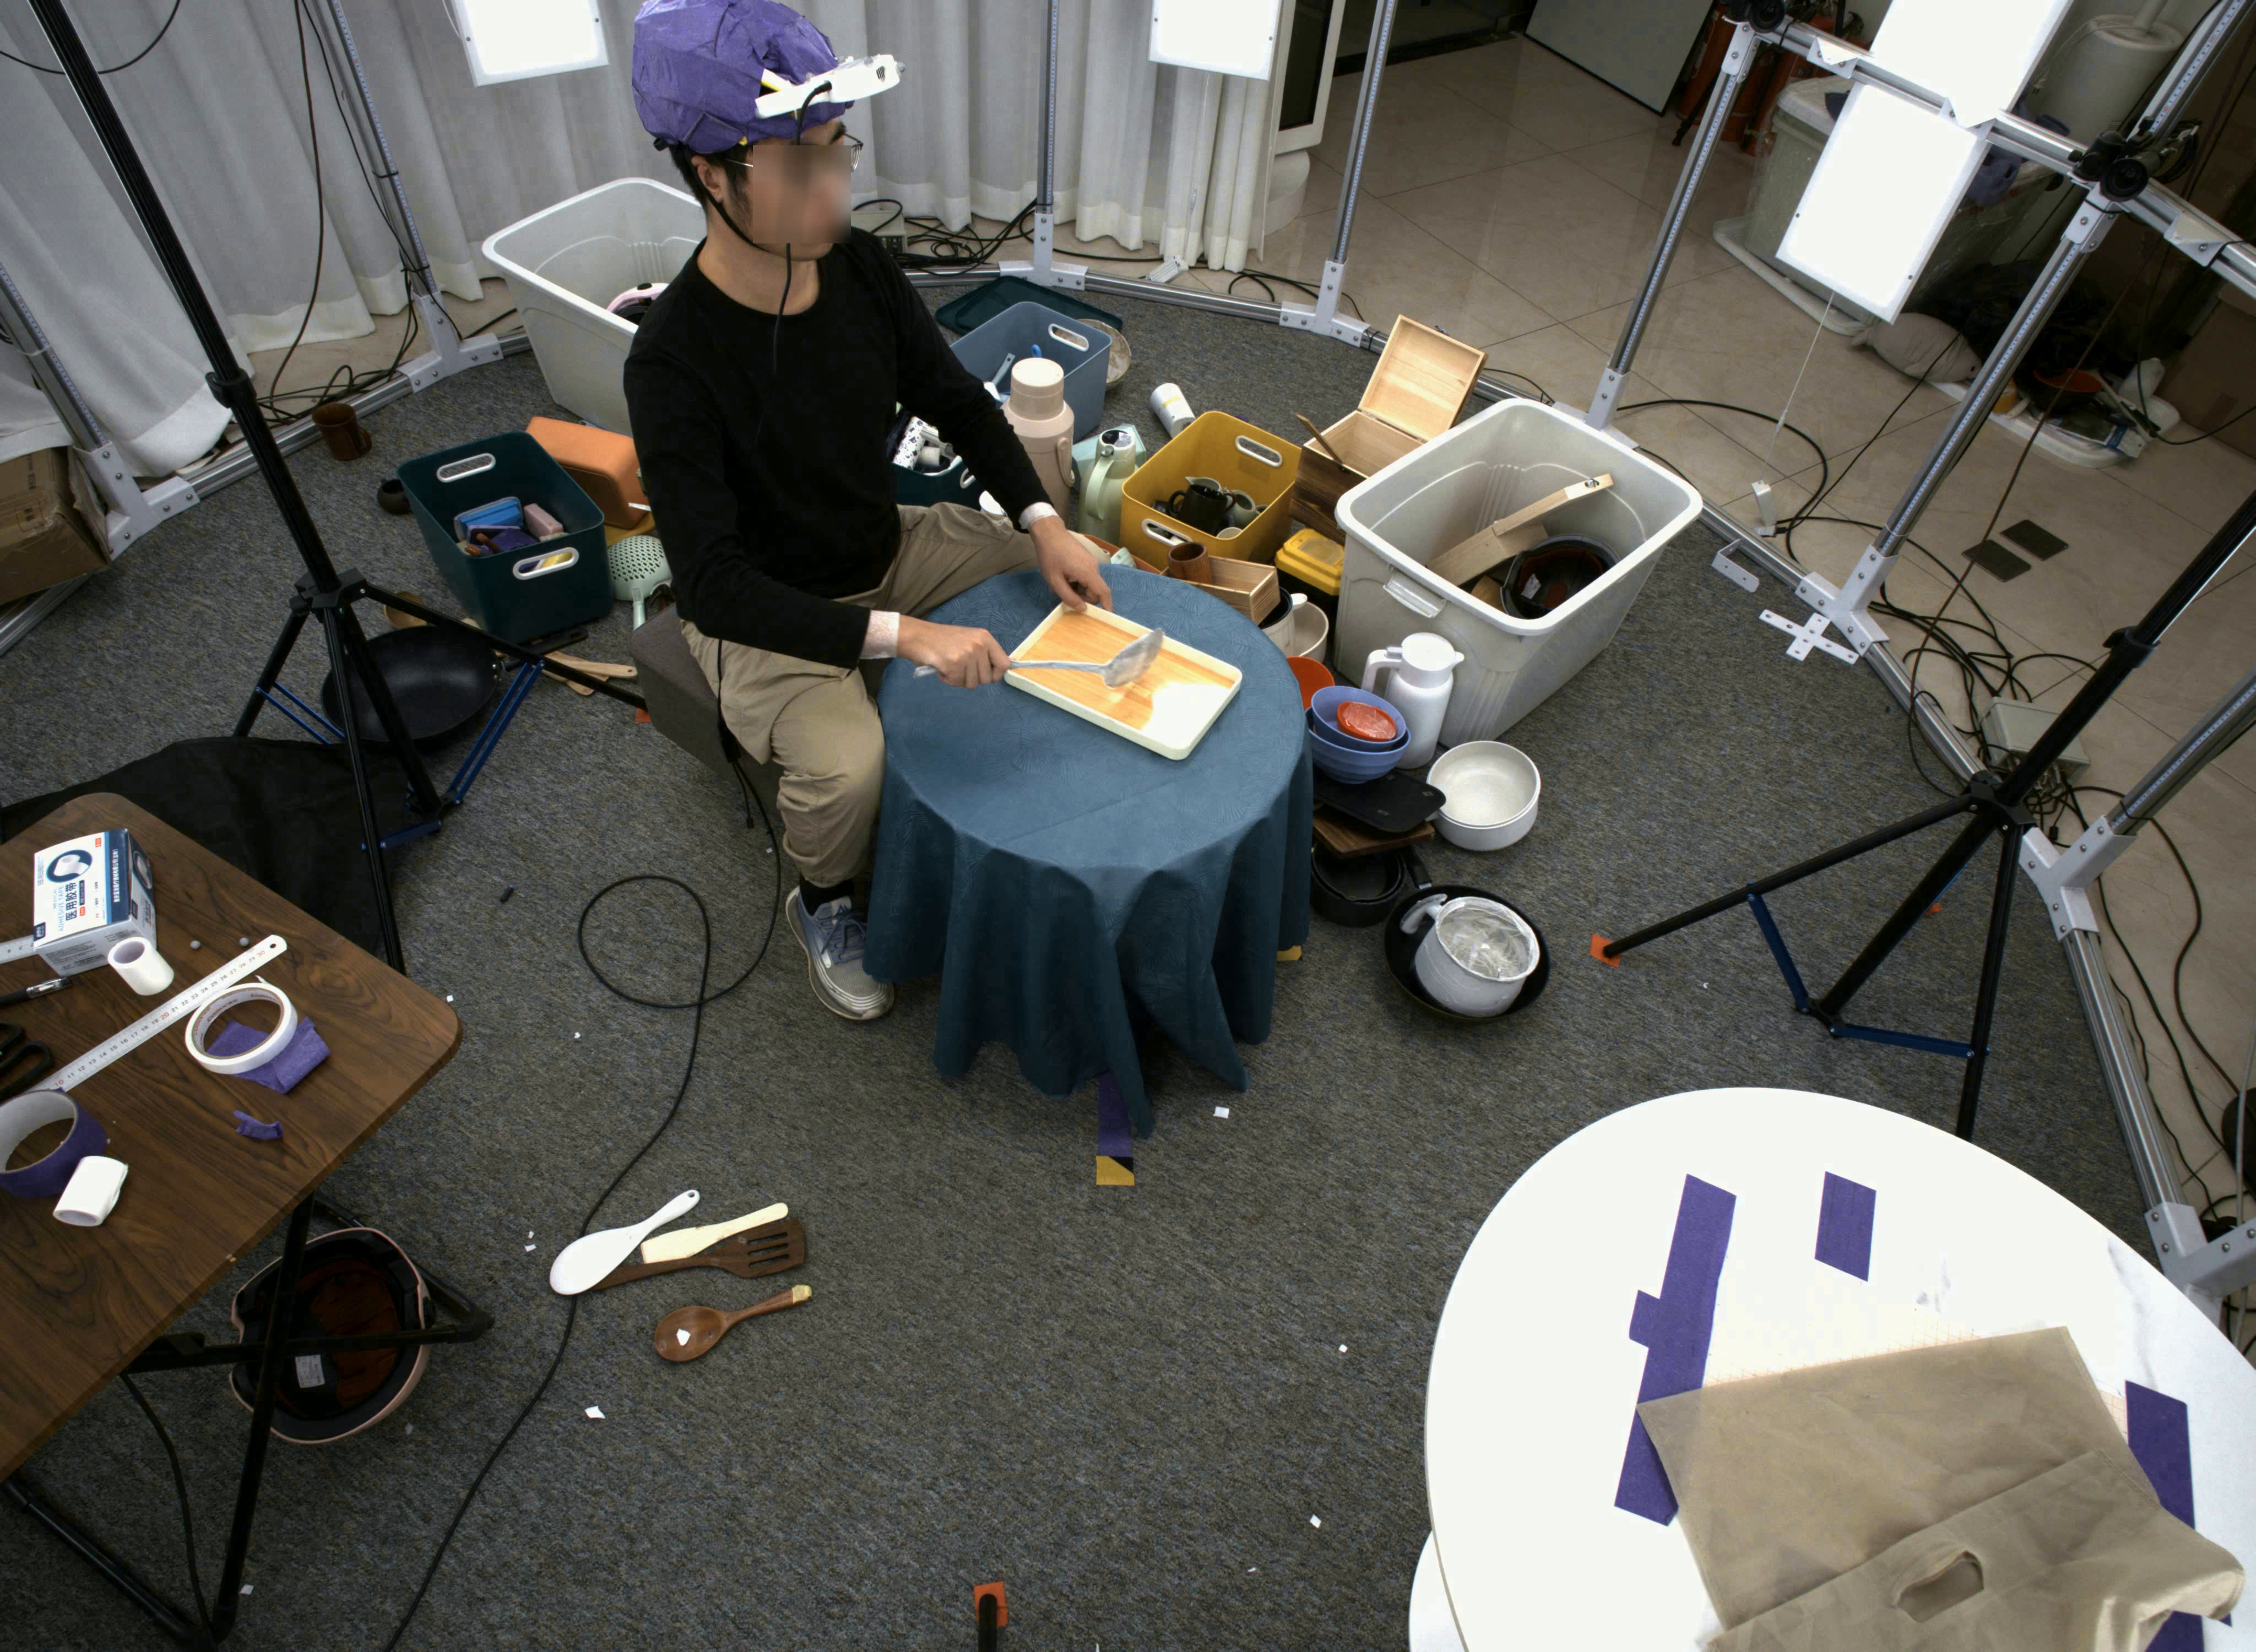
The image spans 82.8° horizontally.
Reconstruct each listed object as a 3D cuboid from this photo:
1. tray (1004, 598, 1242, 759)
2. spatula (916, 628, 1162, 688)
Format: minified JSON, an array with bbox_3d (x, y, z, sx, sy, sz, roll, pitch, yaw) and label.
[{"bbox_3d":[-0.007,-0.216,1.839,0.303,0.027,0.194,26,53,18],"label":"tray"},{"bbox_3d":[-0.113,-0.220,1.729,0.364,0.097,0.046,-4,52,-27],"label":"spatula"}]
